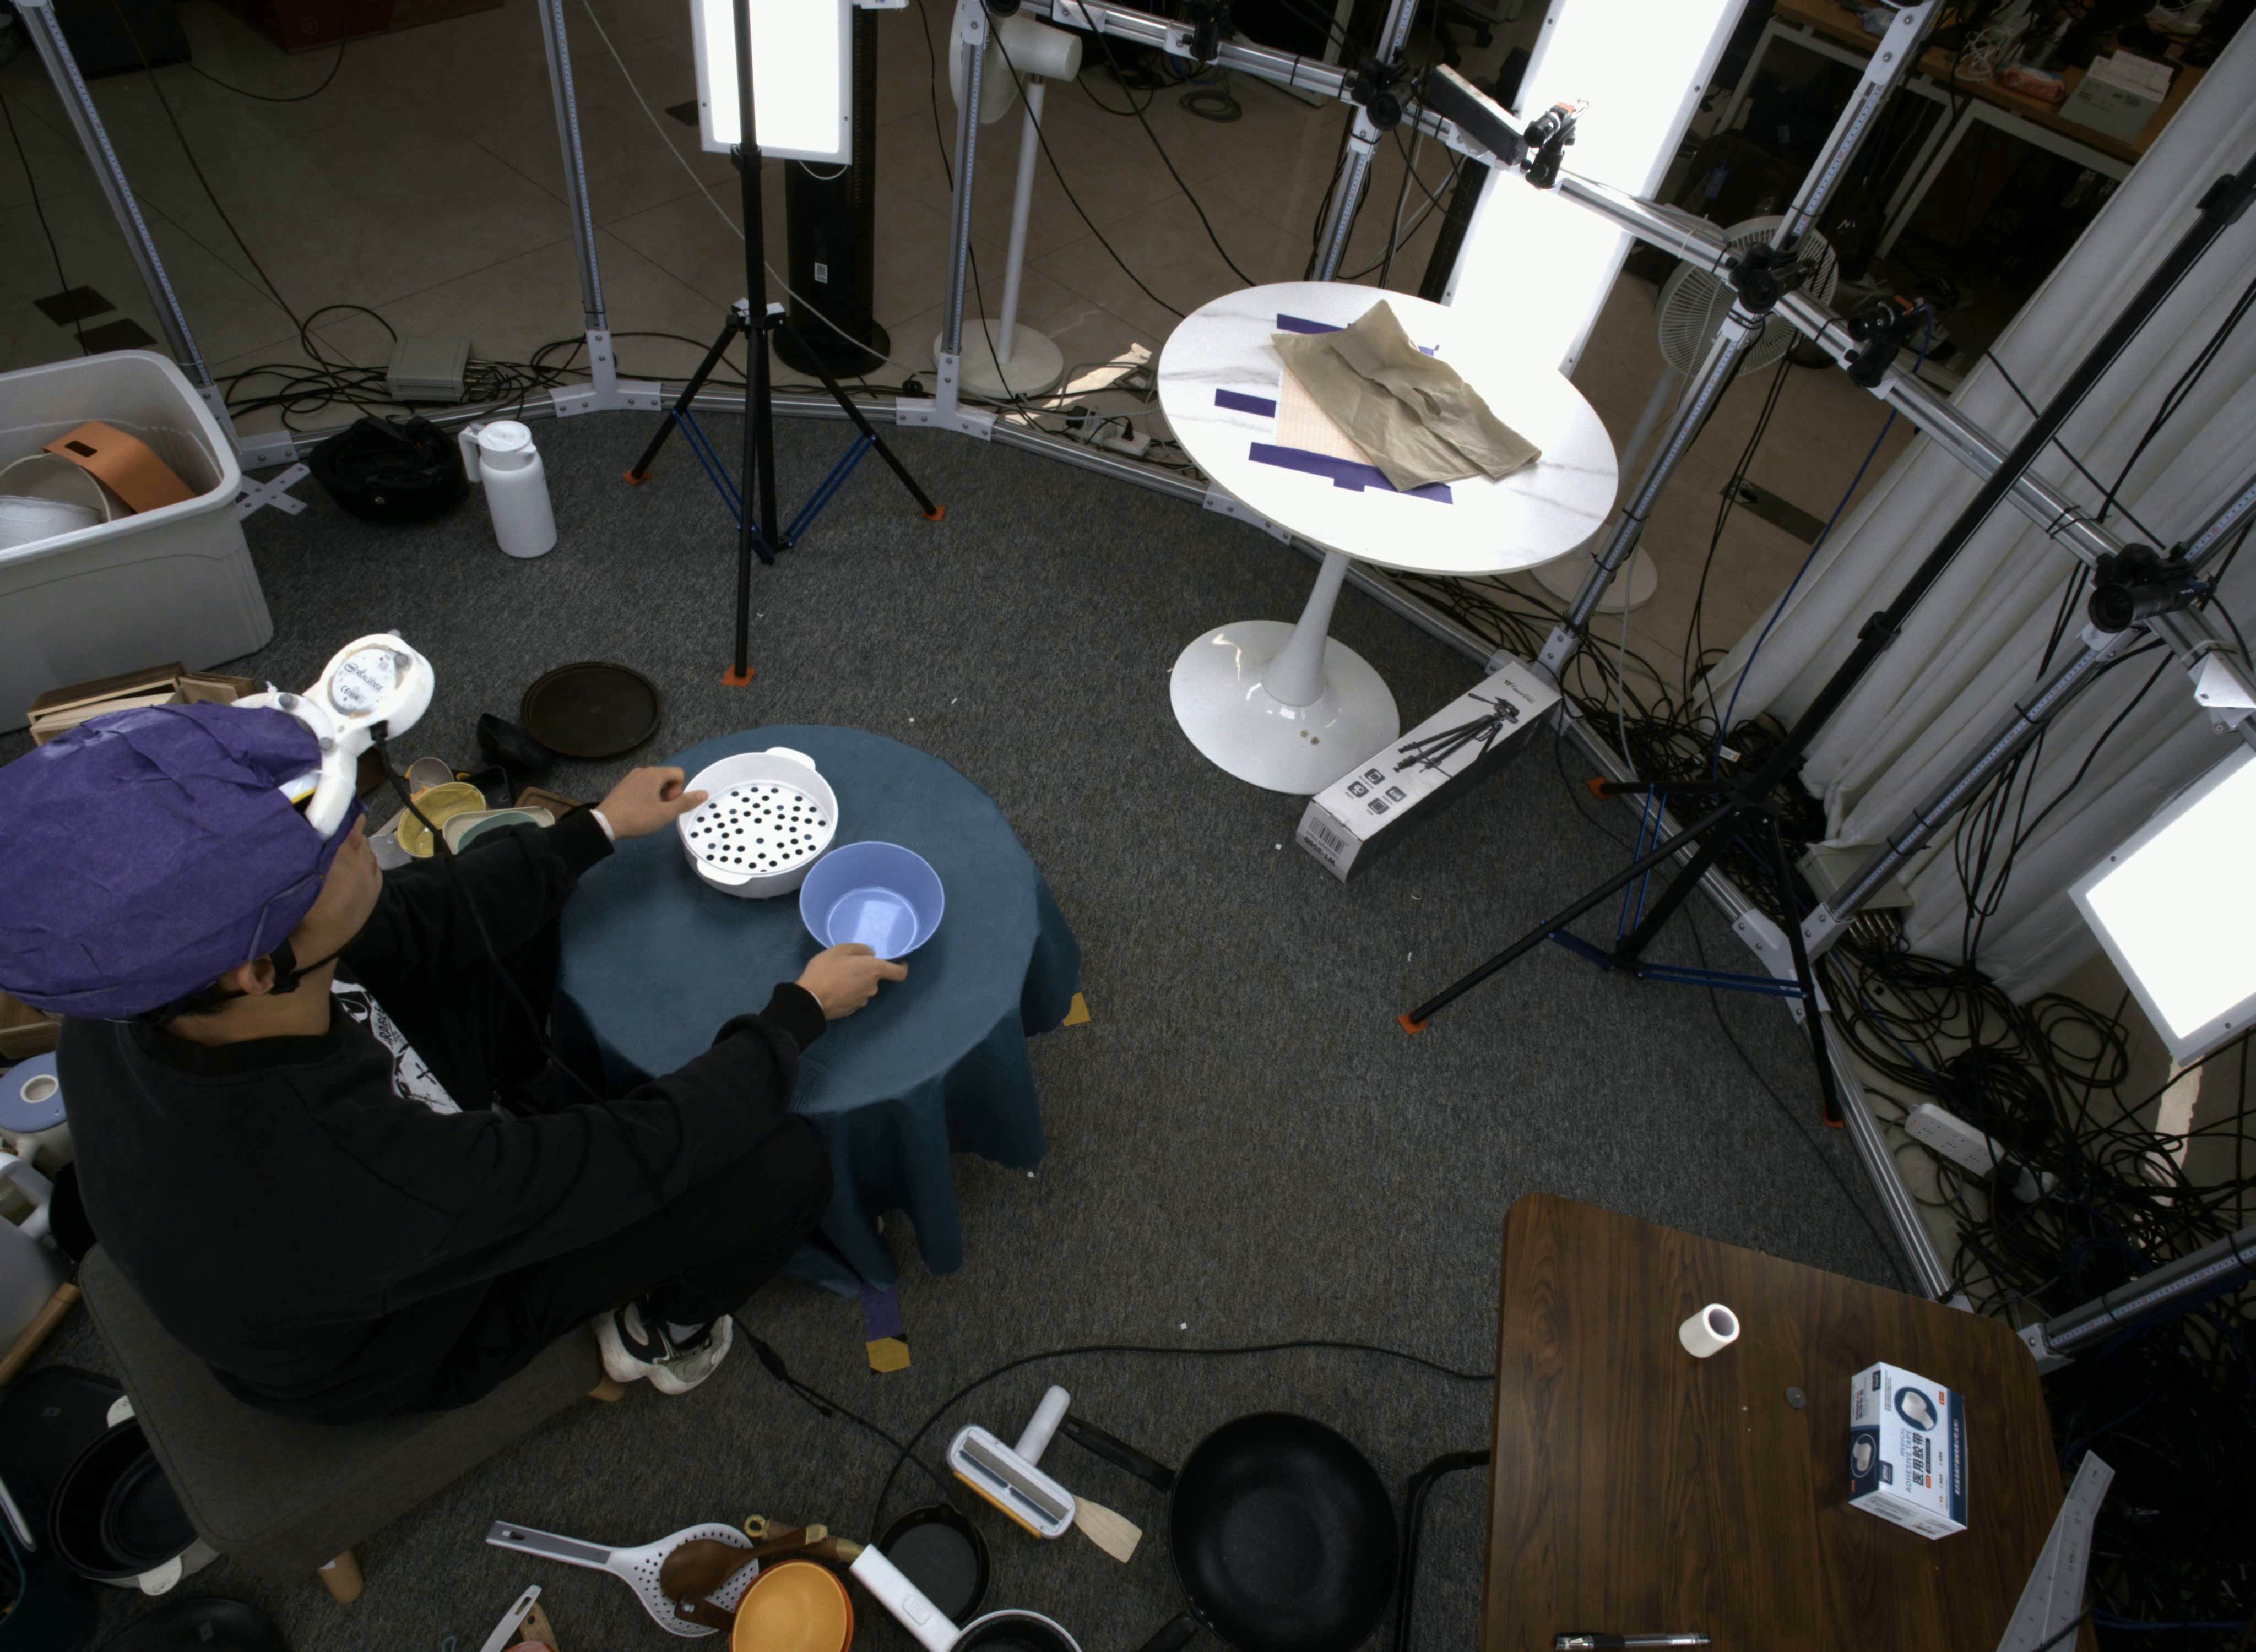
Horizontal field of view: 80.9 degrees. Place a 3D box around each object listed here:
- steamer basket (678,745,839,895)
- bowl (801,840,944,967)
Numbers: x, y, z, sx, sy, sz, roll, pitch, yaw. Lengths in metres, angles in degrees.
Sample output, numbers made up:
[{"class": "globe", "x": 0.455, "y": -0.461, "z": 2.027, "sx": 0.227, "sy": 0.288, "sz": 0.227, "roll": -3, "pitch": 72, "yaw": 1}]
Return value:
[{"class": "steamer basket", "x": -0.476, "y": -0.004, "z": 1.675, "sx": 0.200, "sy": 0.070, "sz": 0.228, "roll": 18, "pitch": 50, "yaw": 0}, {"class": "bowl", "x": -0.318, "y": 0.107, "z": 1.629, "sx": 0.175, "sy": 0.072, "sz": 0.173, "roll": 6, "pitch": 54, "yaw": -7}]
